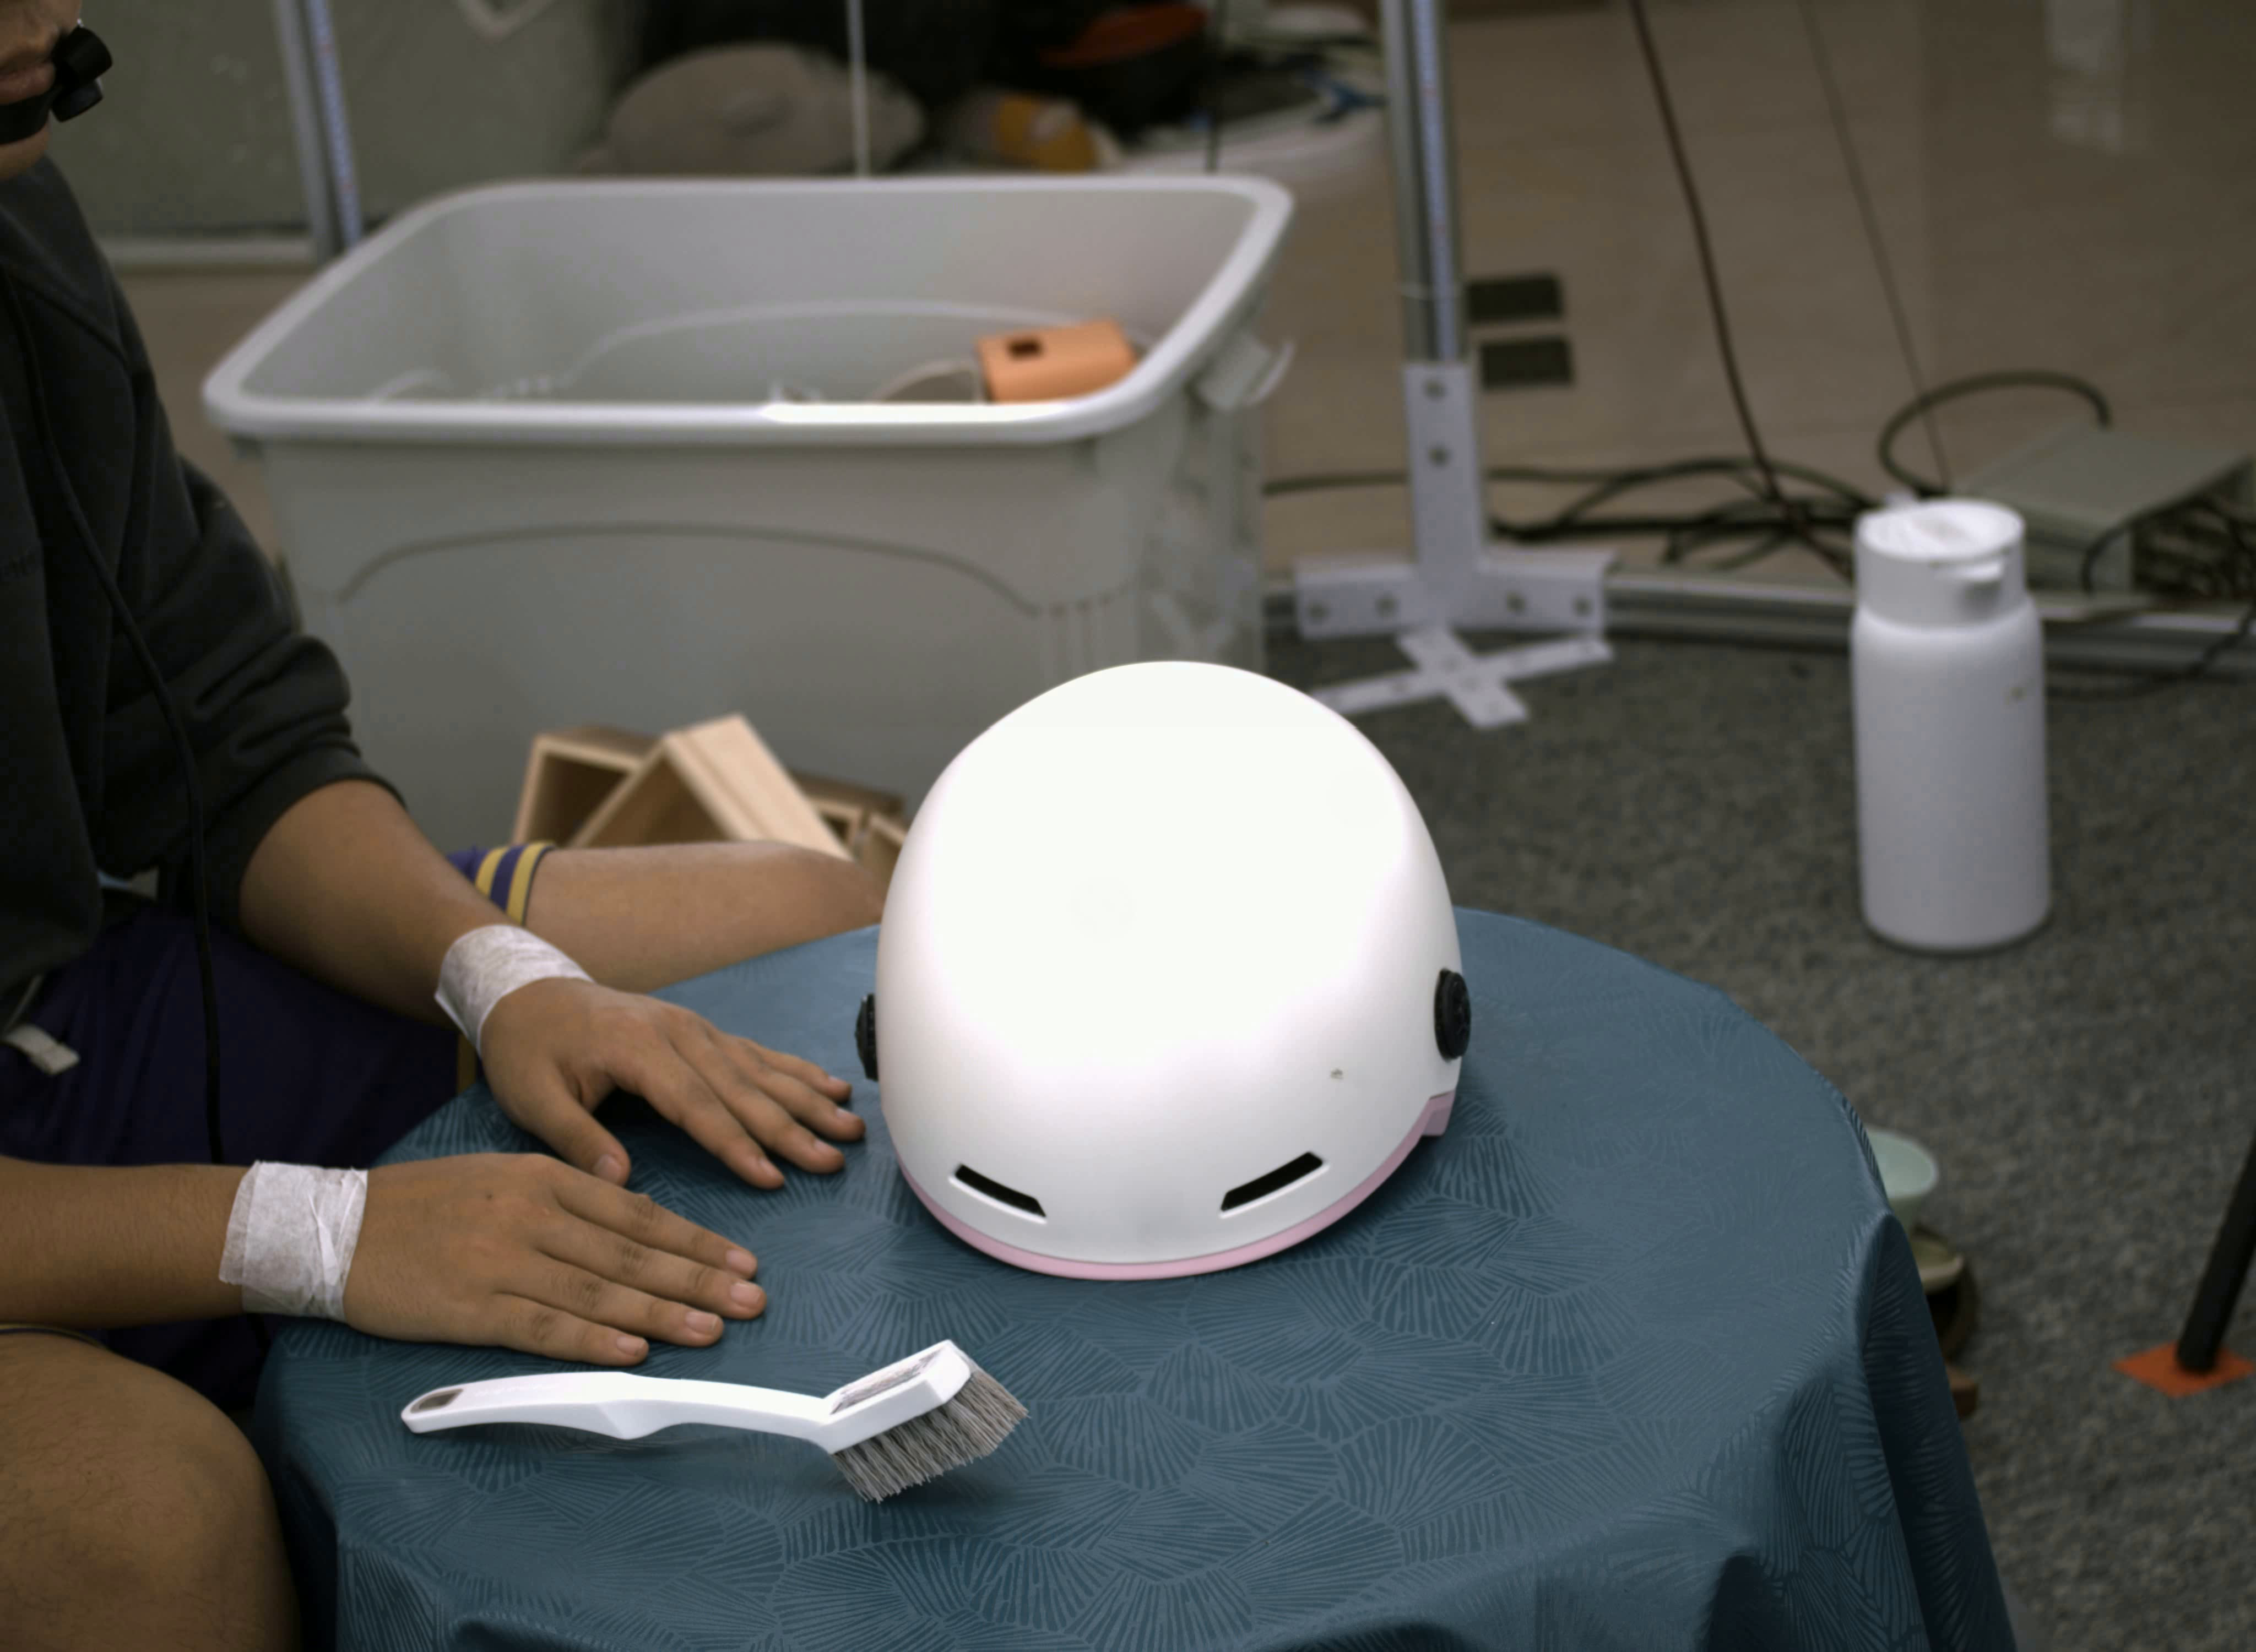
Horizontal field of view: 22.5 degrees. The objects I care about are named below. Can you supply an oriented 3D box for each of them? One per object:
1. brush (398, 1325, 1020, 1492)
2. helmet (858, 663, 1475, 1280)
[{"bbox_3d":[-0.149,0.214,1.996,0.244,0.051,0.034,-9,22,28],"label":"brush"},{"bbox_3d":[0.014,0.037,2.165,0.236,0.170,0.265,-1,26,10],"label":"helmet"}]
